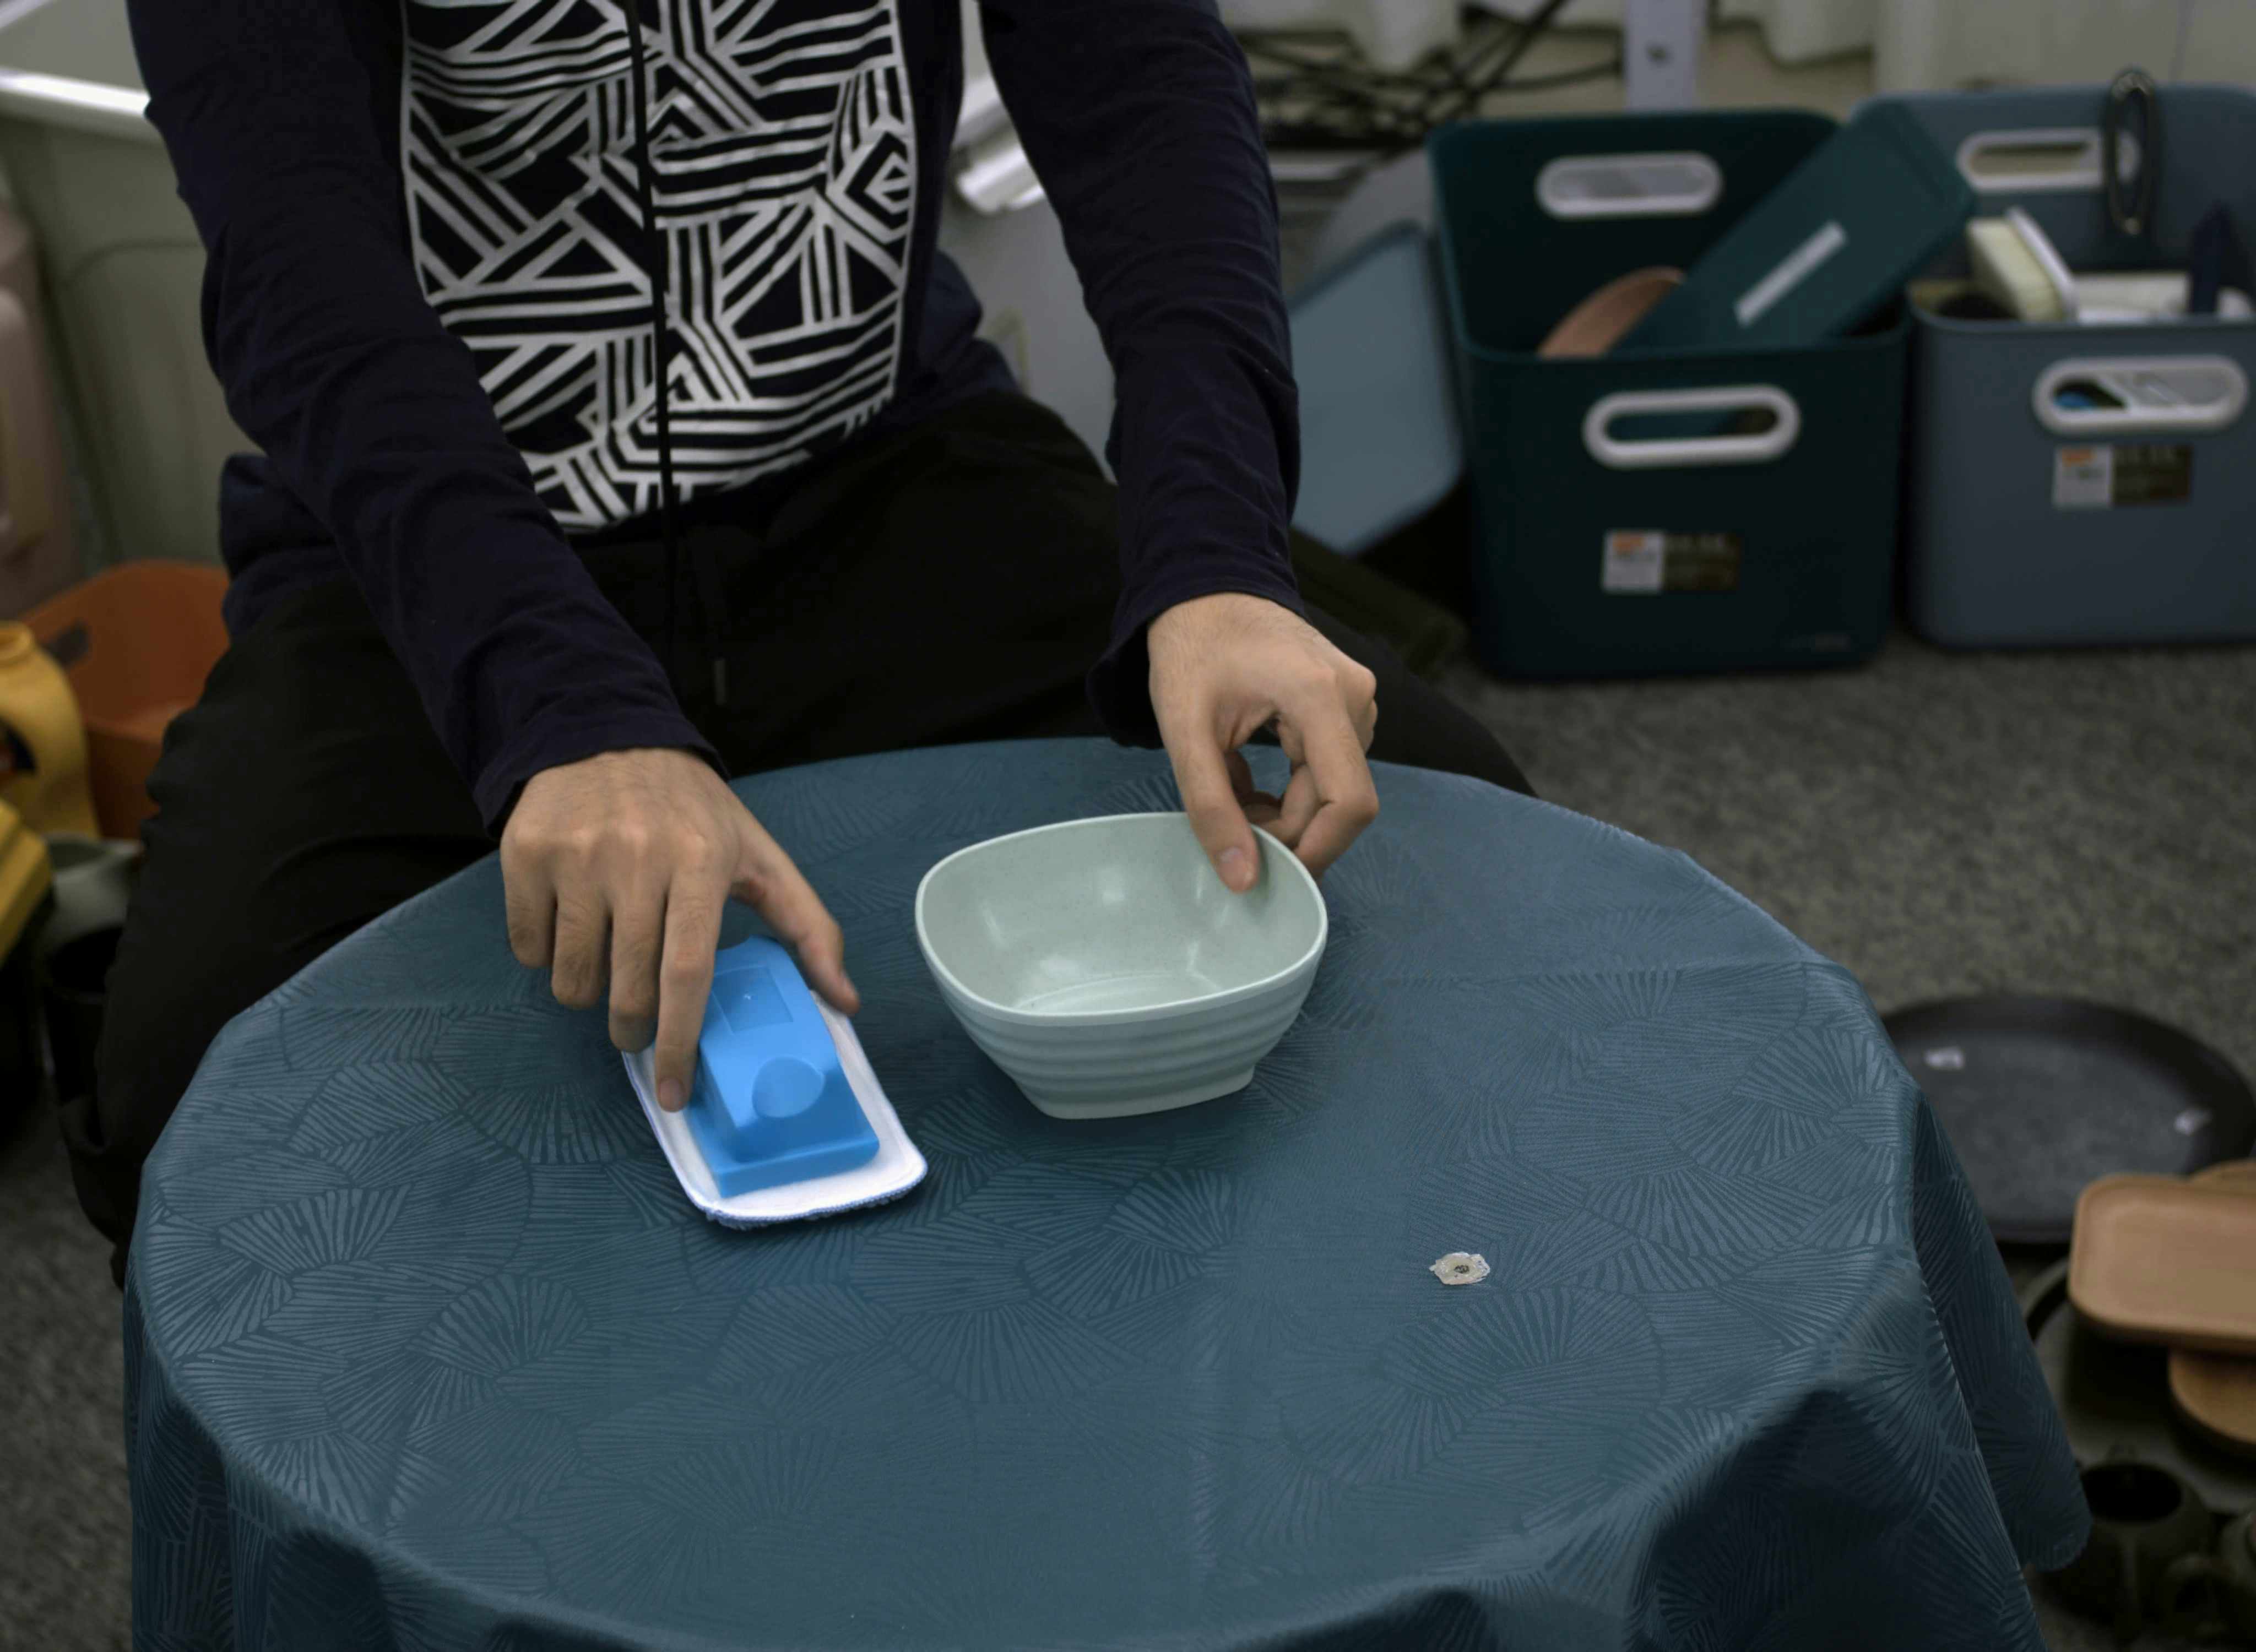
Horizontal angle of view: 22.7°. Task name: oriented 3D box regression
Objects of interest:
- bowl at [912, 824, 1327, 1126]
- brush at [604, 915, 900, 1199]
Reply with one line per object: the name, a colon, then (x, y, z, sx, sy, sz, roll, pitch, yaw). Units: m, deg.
bowl: (-0.003, 0.056, 1.930, 0.151, 0.058, 0.153, -1, 26, 1)
brush: (-0.127, 0.074, 1.898, 0.084, 0.055, 0.145, -6, 28, -14)
